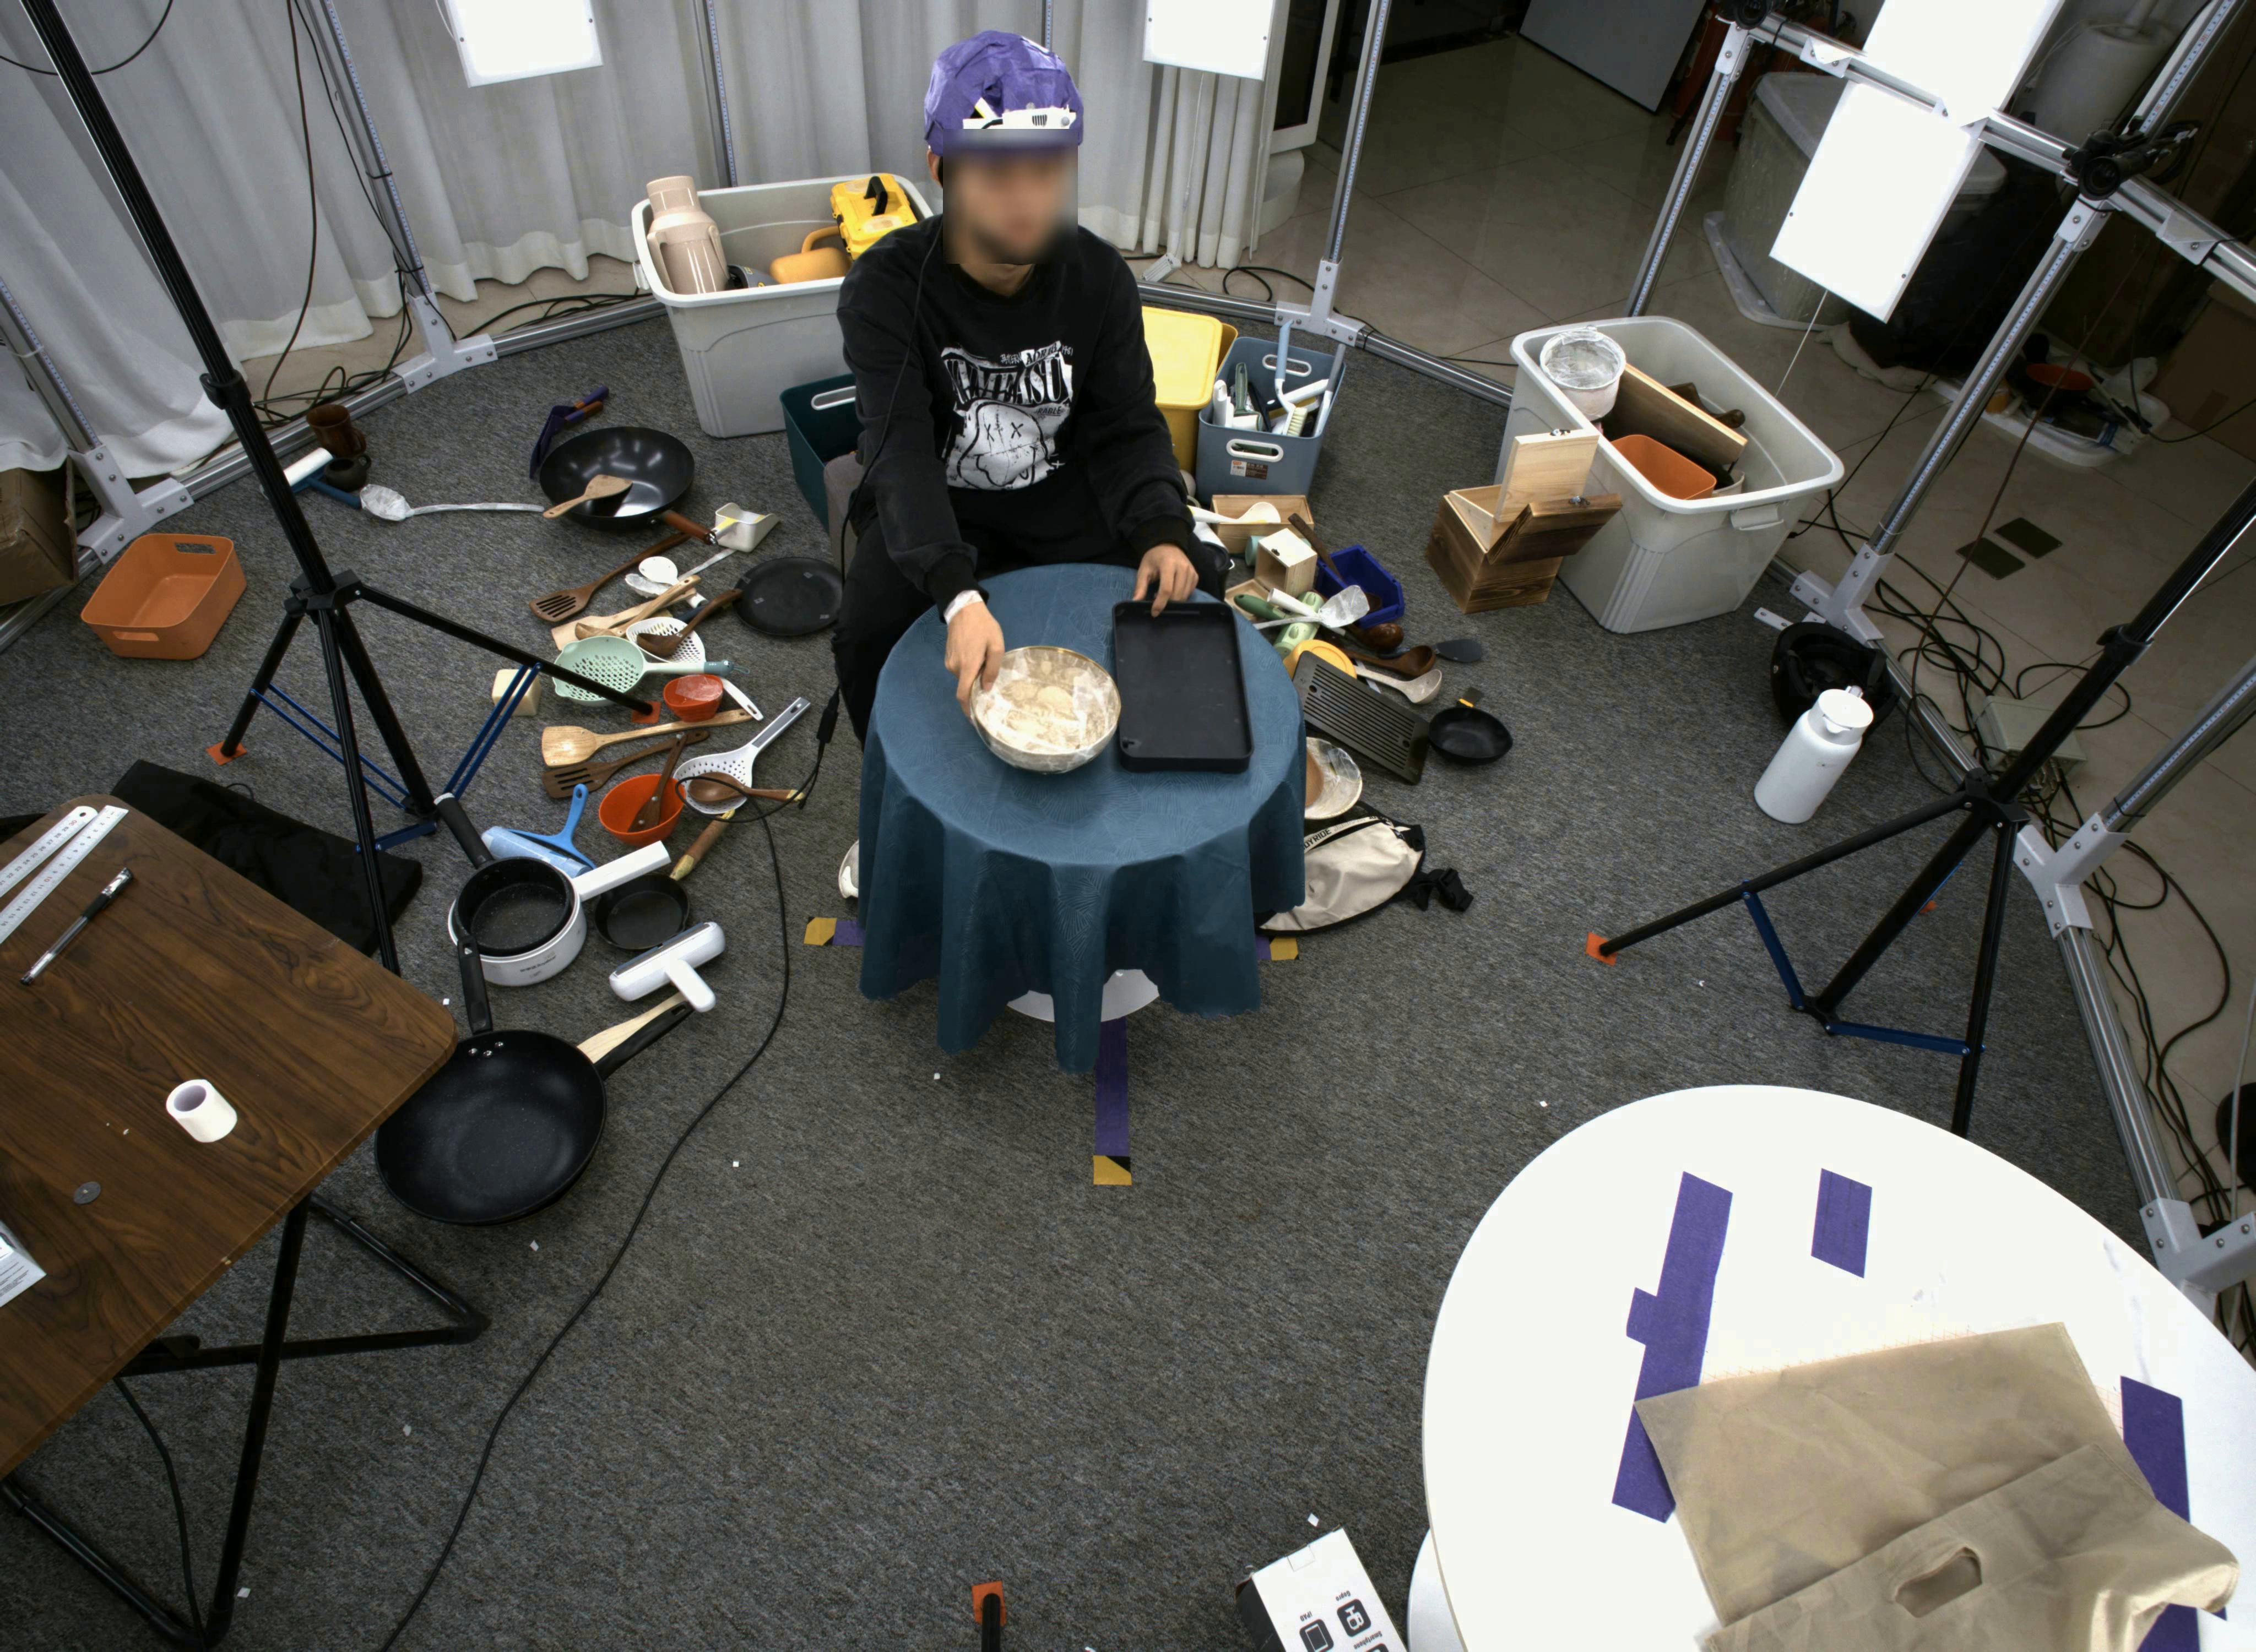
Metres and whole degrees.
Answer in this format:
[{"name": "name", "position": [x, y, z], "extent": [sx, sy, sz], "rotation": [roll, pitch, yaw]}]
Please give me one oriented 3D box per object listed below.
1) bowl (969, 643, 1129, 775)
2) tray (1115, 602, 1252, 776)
[{"name": "bowl", "position": [-0.110, -0.143, 1.741], "extent": [0.214, 0.092, 0.220], "rotation": [2, 49, -3]}, {"name": "tray", "position": [0.074, -0.202, 1.843], "extent": [0.184, 0.036, 0.326], "rotation": [1, 49, -3]}]
